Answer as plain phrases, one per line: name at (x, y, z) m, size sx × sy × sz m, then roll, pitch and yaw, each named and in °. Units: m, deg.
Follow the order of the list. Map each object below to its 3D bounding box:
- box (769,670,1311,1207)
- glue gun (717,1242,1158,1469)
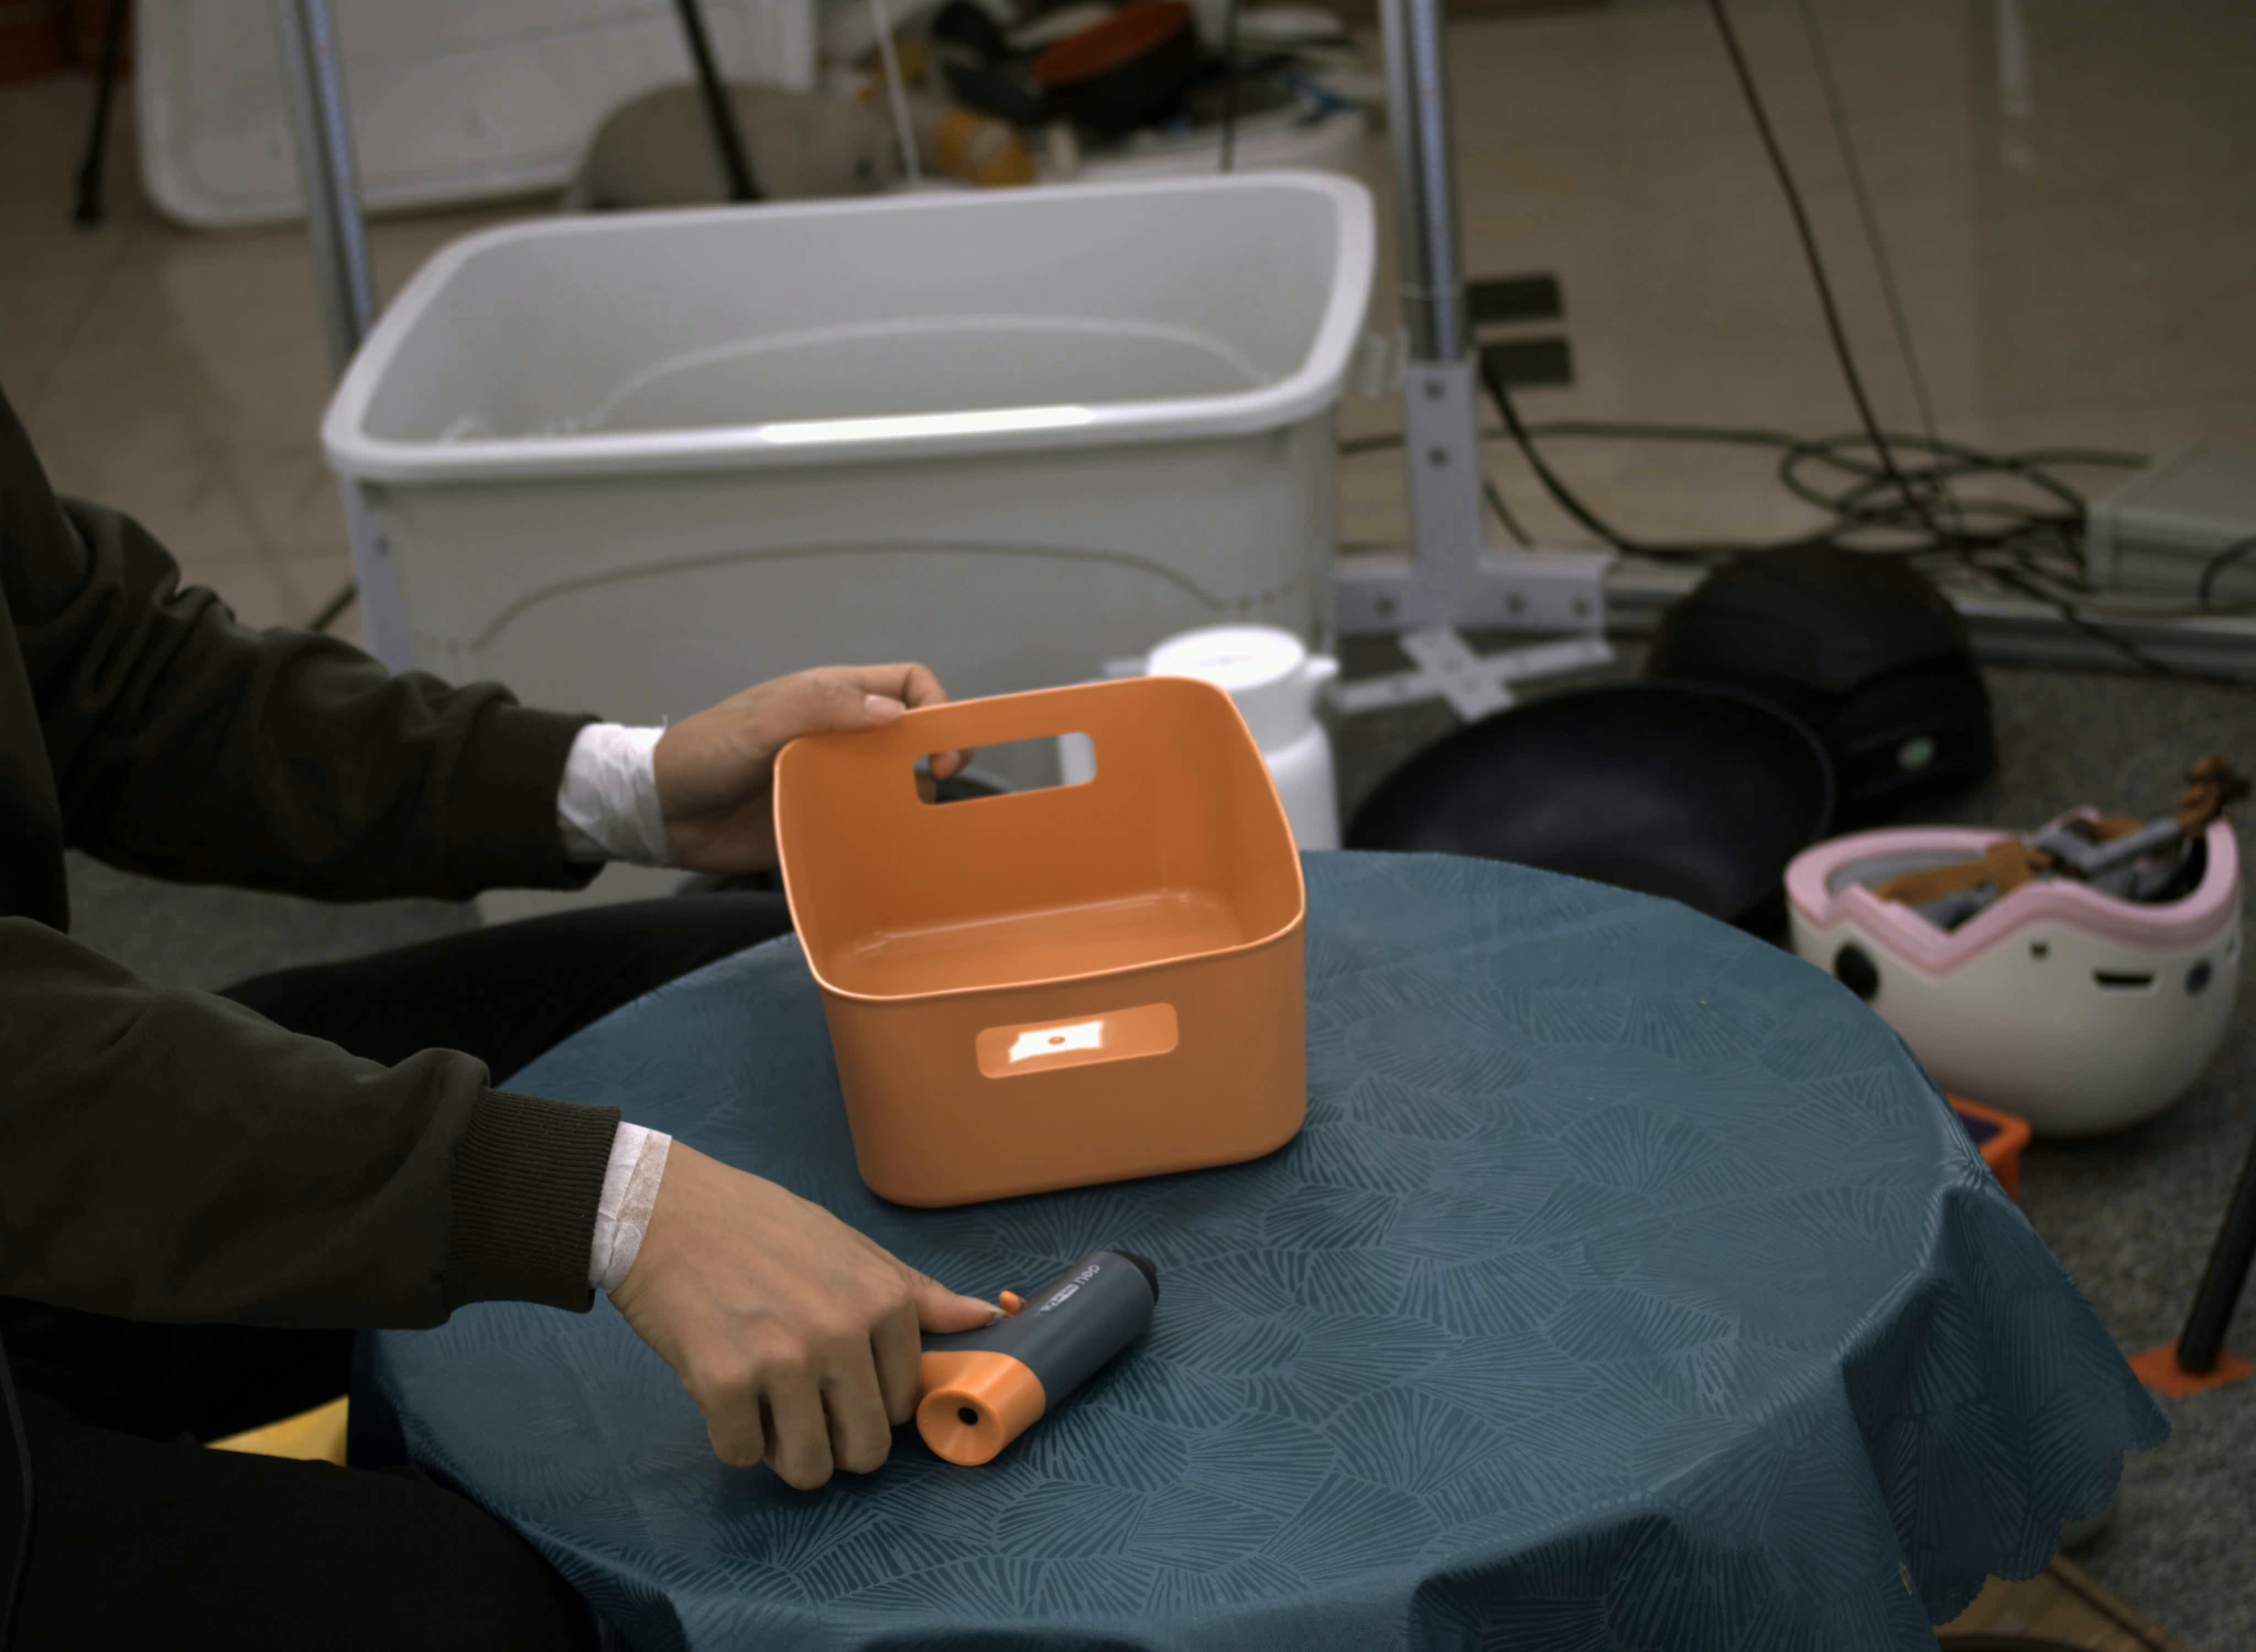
box at (-0.034, 0.044, 2.236) m, size 0.199 × 0.104 × 0.269 m, roll -9°, pitch 26°, yaw -5°
glue gun at (-0.067, 0.183, 2.034) m, size 0.139 × 0.041 × 0.116 m, roll 5°, pitch 29°, yaw 17°
